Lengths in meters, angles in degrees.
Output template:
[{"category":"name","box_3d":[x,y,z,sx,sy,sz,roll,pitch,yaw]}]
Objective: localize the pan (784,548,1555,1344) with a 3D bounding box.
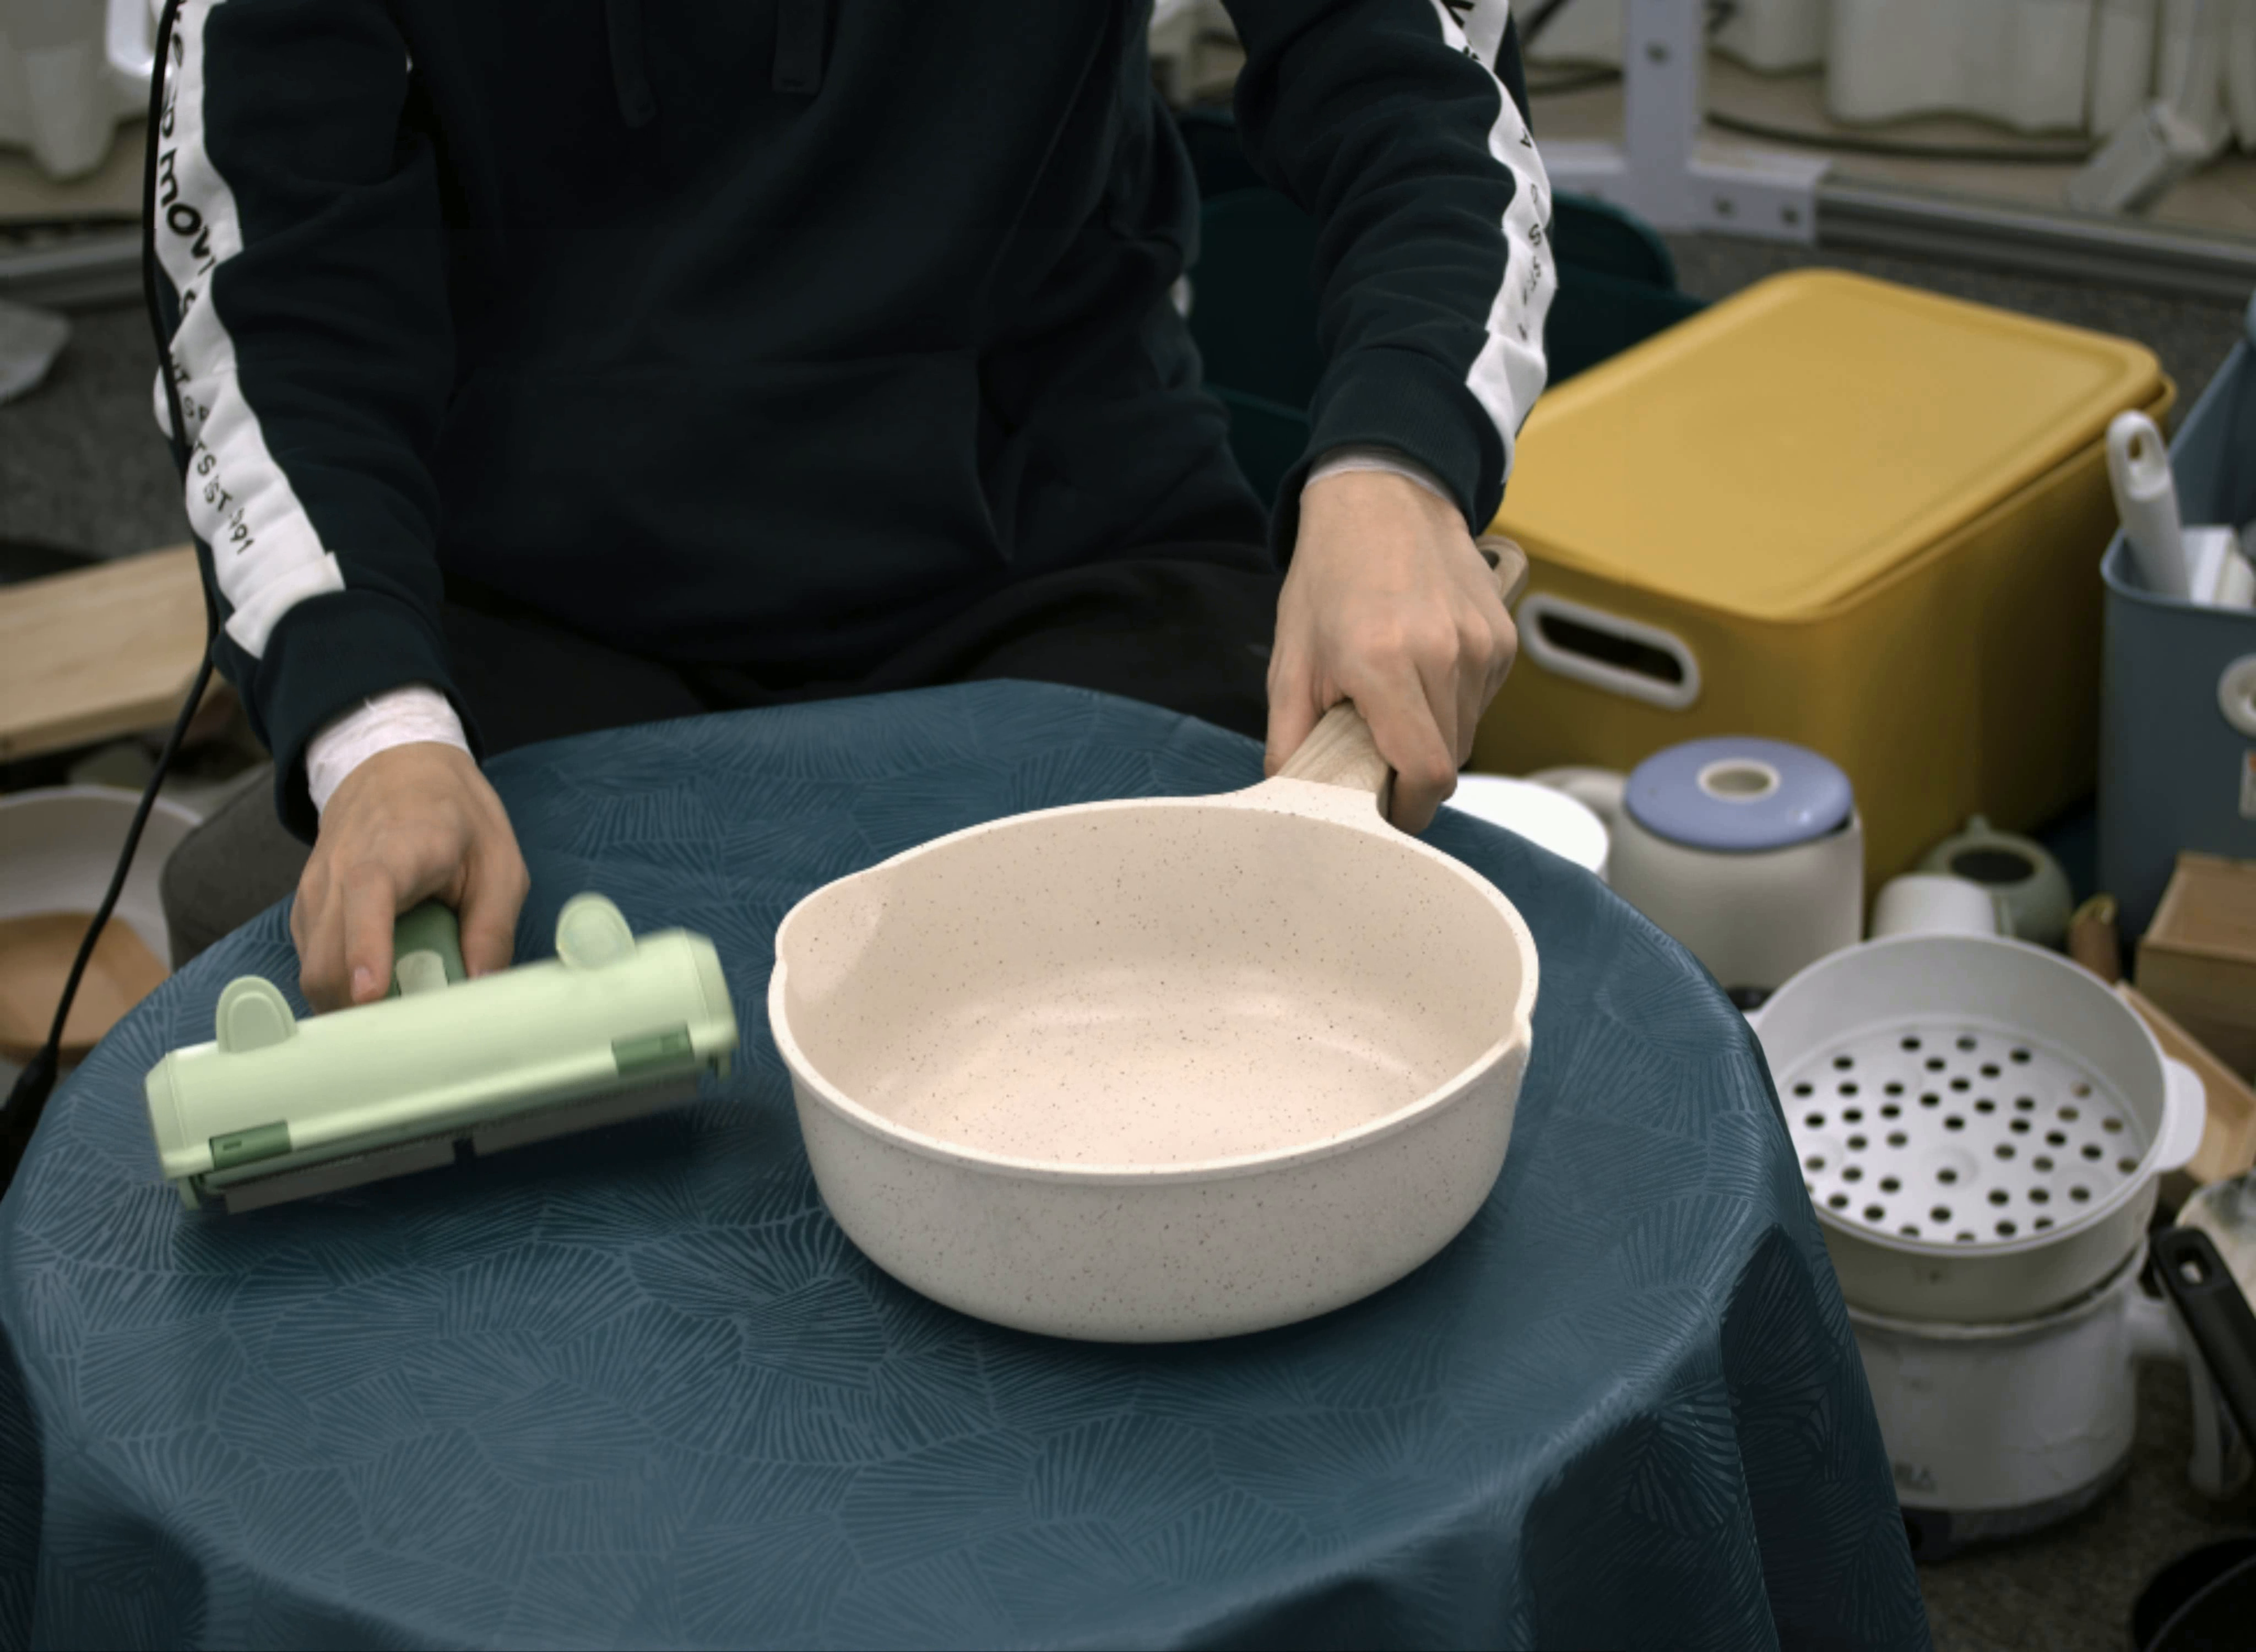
[{"category":"pan","box_3d":[0.052,0.038,1.911,0.261,0.101,0.442,8,29,23]}]

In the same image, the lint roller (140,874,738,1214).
[{"category":"lint roller","box_3d":[-0.244,0.049,1.918,0.198,0.081,0.186,-12,36,-10]}]
